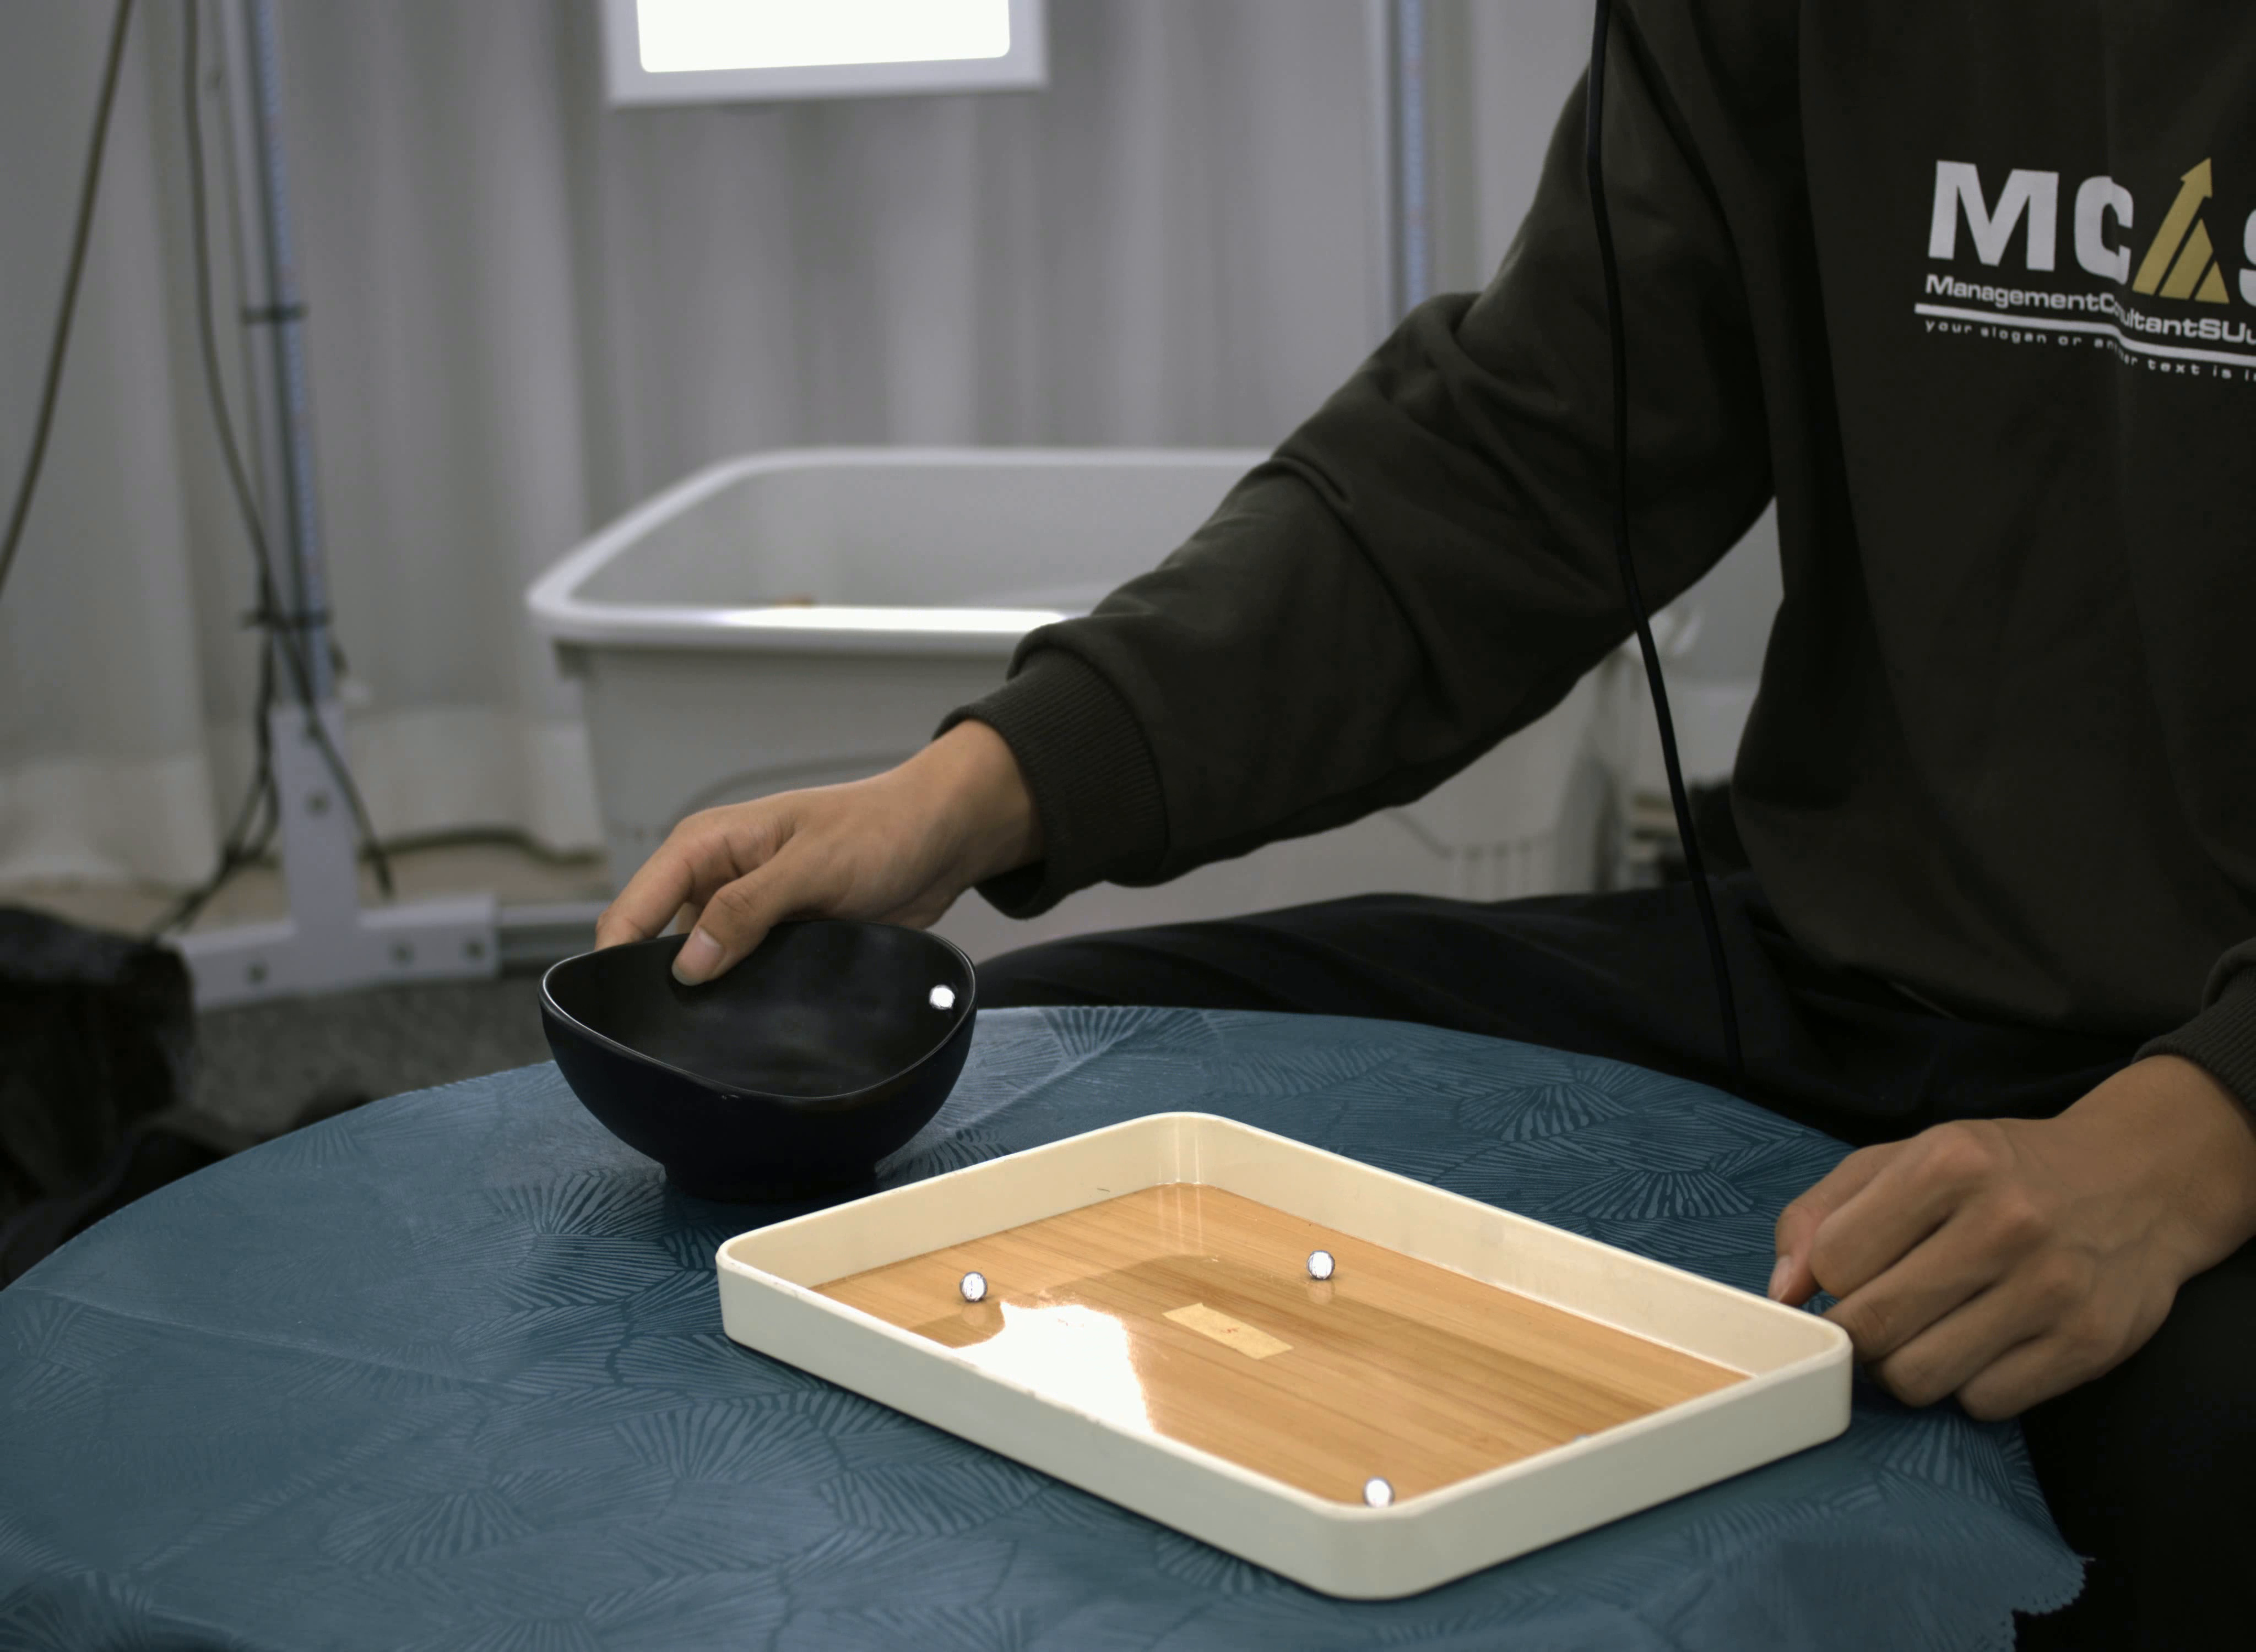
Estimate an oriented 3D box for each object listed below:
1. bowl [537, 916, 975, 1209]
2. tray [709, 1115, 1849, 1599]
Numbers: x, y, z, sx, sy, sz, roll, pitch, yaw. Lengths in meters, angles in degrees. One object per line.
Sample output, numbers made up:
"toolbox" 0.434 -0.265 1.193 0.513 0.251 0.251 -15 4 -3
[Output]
"bowl" -0.116 0.080 1.748 0.137 0.066 0.172 -10 19 -20
"tray" 0.038 0.144 1.550 0.191 0.027 0.302 -14 18 -37
